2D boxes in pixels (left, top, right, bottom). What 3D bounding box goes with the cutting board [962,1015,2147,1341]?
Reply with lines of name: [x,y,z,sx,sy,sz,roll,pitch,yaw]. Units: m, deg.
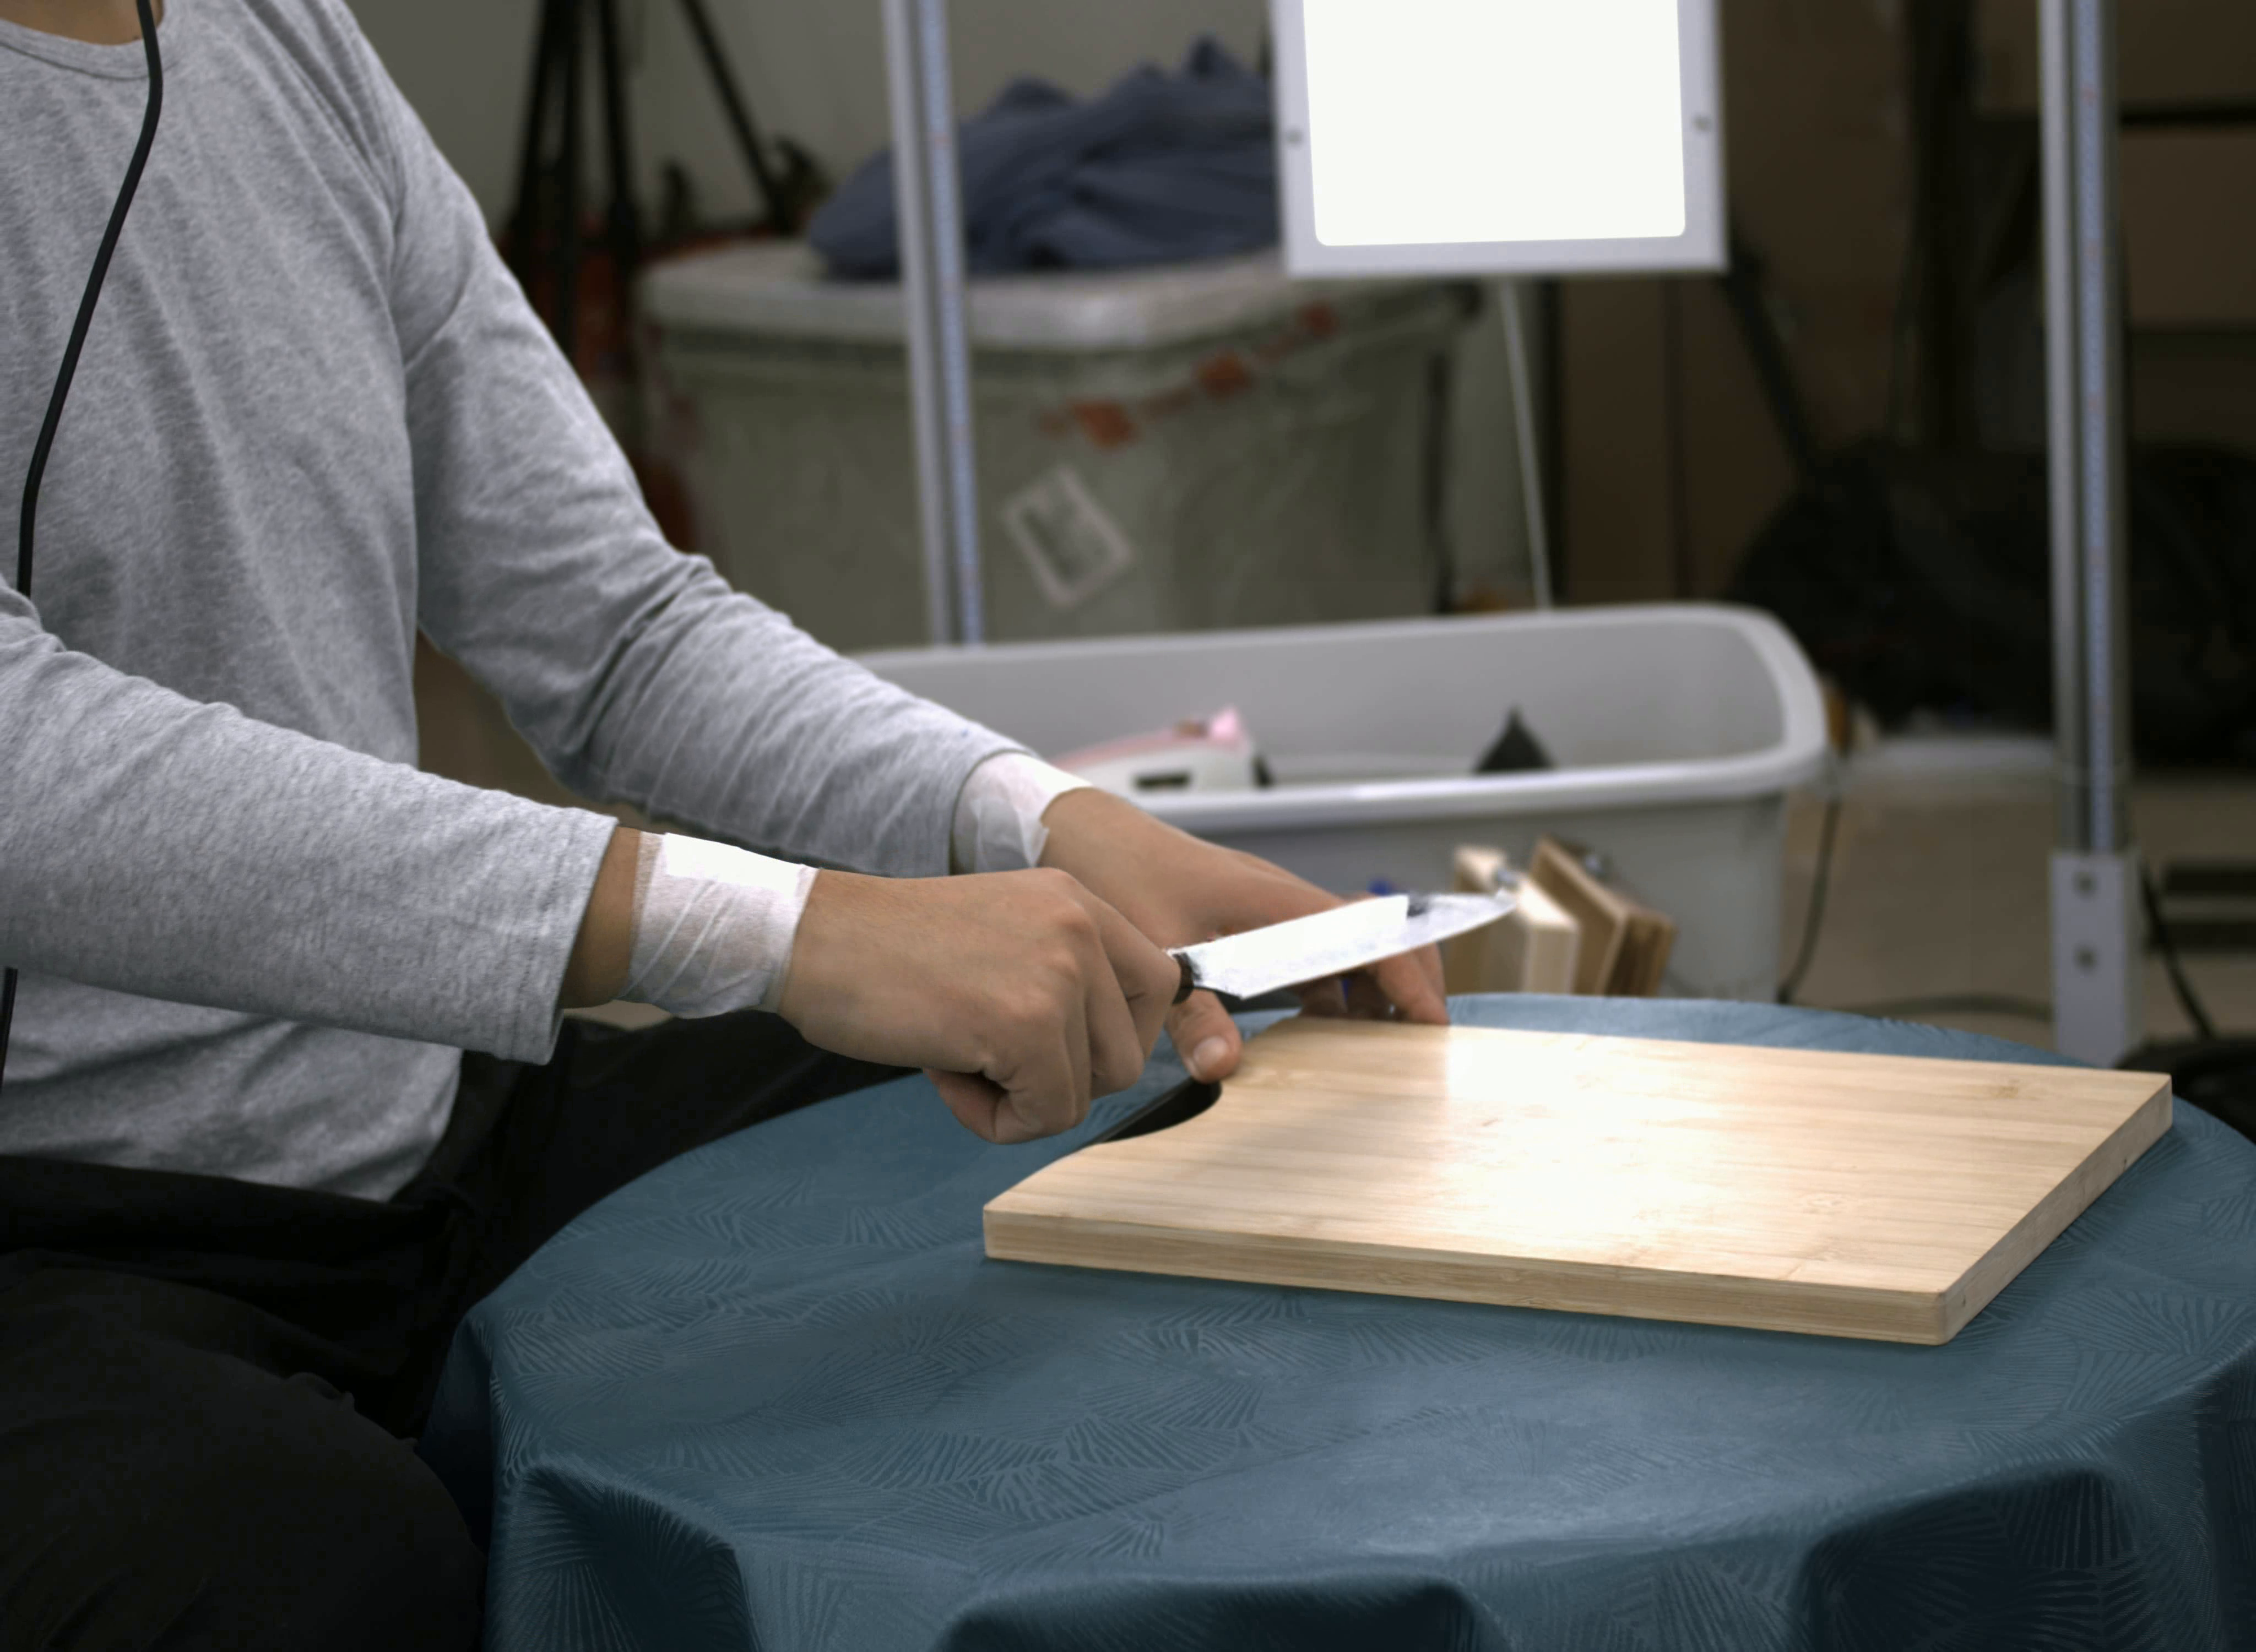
cutting board: [0.150,0.115,1.862,0.355,0.023,0.245,2,15,29]

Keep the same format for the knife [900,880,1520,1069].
knife: [0.034,0.044,1.823,0.281,0.020,0.051,-12,25,-43]
